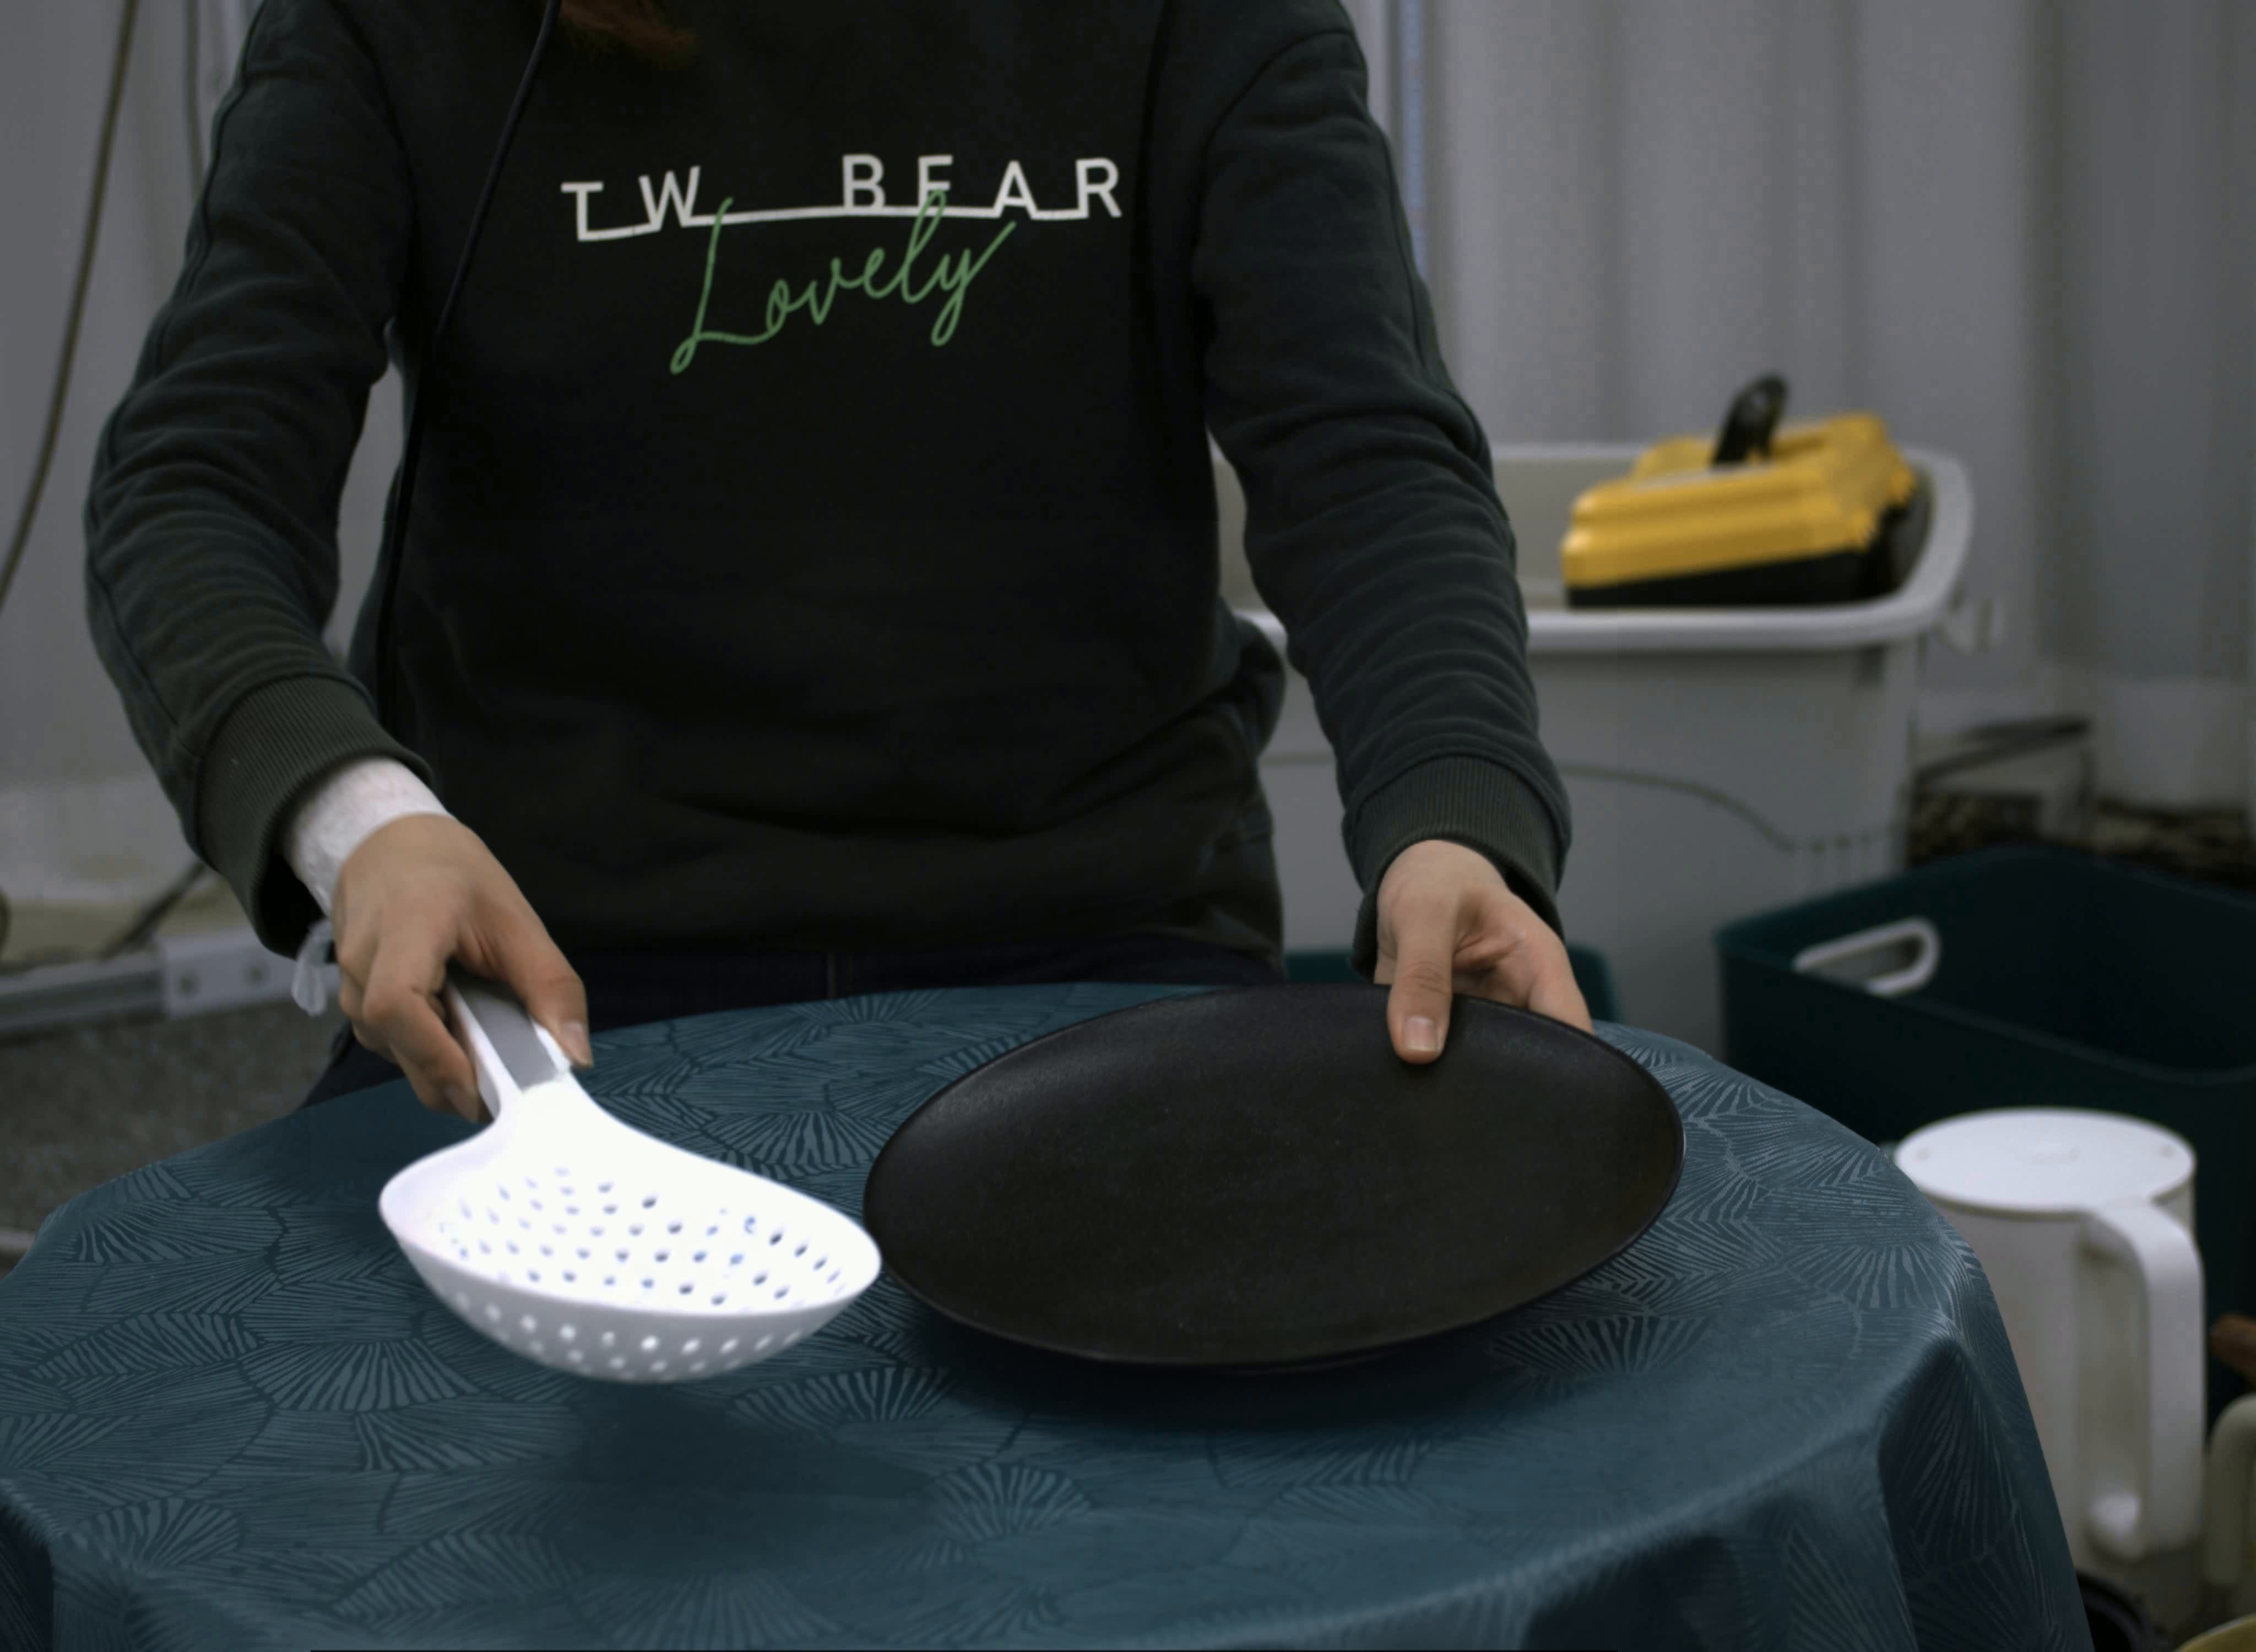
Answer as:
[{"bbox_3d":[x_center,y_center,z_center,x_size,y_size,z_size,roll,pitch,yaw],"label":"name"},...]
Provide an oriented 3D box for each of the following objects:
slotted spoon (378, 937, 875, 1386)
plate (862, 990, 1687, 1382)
[{"bbox_3d":[-0.166,0.088,1.580,0.135,0.045,0.353,6,18,-17],"label":"slotted spoon"},{"bbox_3d":[0.043,0.109,1.611,0.243,0.023,0.247,-5,23,2],"label":"plate"}]
